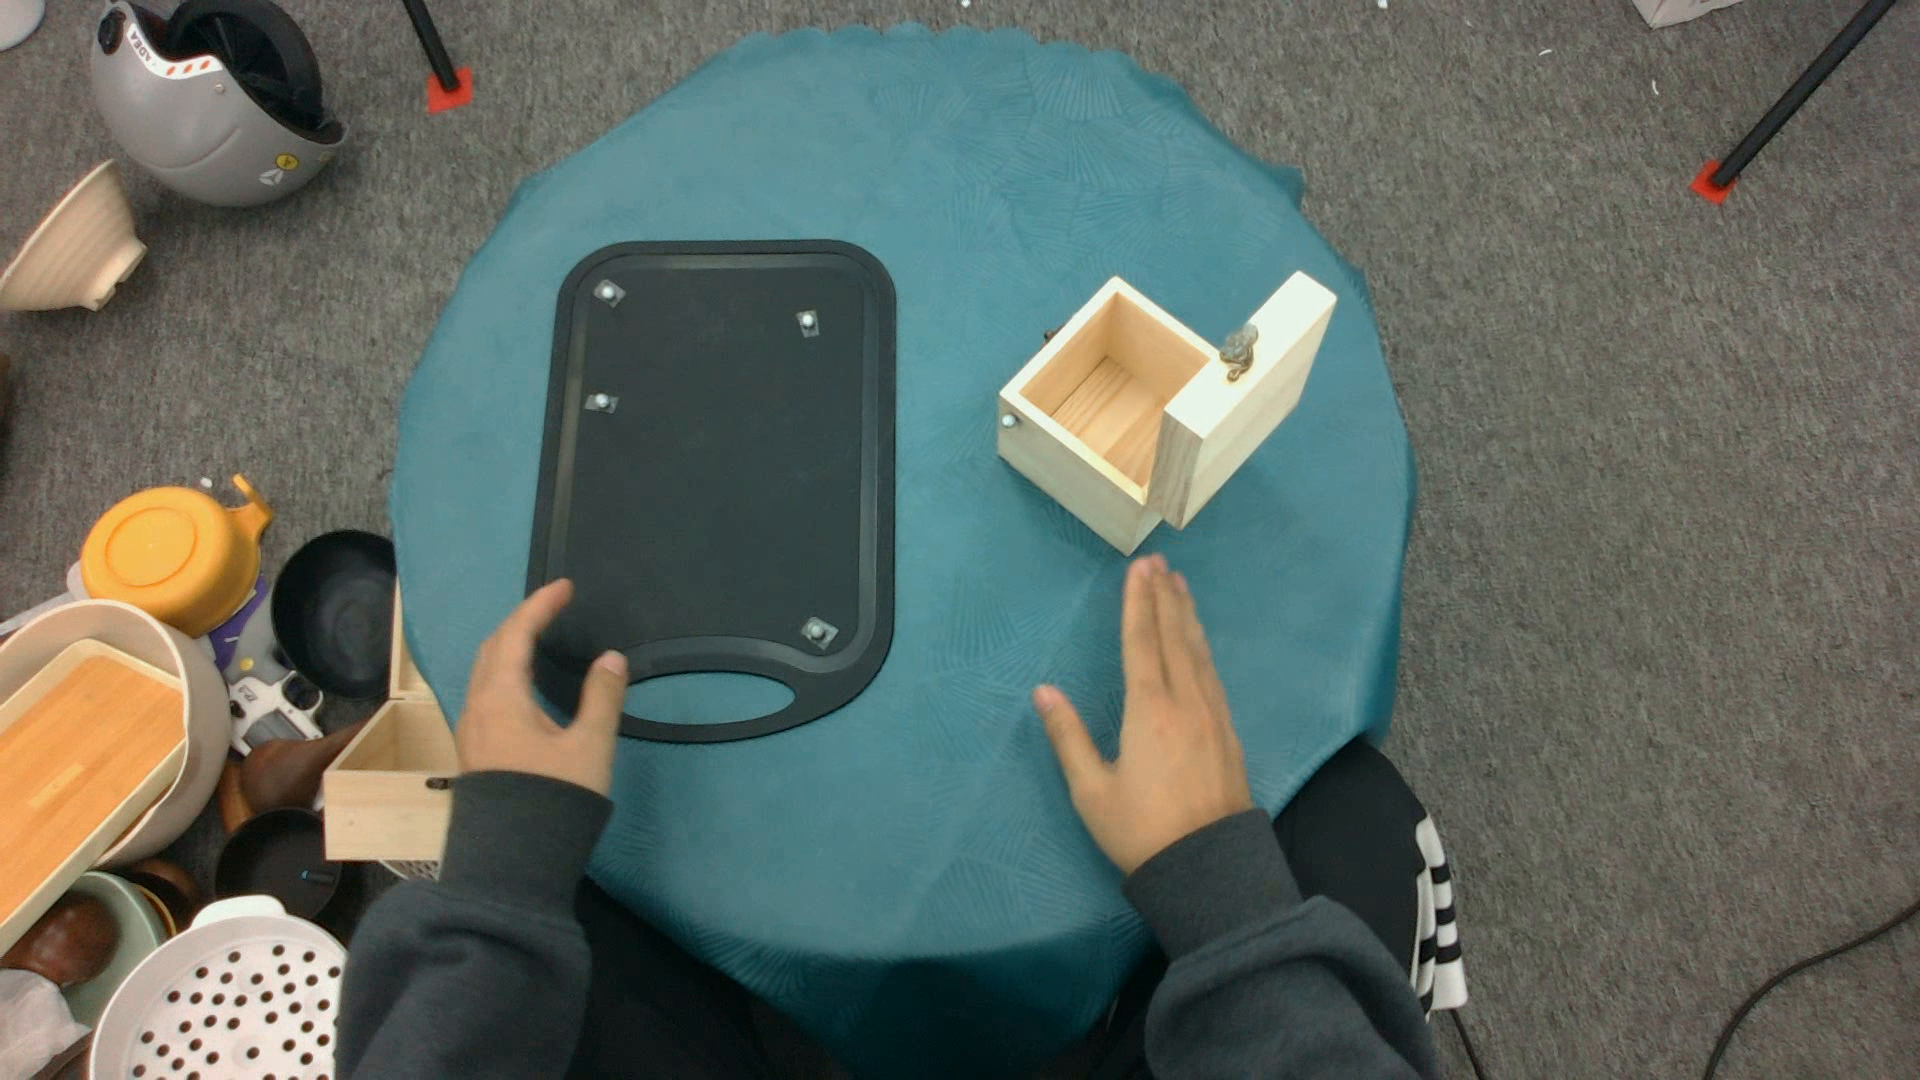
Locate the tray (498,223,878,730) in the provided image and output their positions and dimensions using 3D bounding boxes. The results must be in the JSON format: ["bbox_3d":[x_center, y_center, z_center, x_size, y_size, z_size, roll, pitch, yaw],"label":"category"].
[{"bbox_3d":[-0.154,-0.049,0.806,0.211,0.010,0.326,-1,68,0],"label":"tray"}]

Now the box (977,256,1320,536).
[{"bbox_3d":[0.089,-0.094,0.731,0.134,0.184,0.103,39,73,13],"label":"box"}]
